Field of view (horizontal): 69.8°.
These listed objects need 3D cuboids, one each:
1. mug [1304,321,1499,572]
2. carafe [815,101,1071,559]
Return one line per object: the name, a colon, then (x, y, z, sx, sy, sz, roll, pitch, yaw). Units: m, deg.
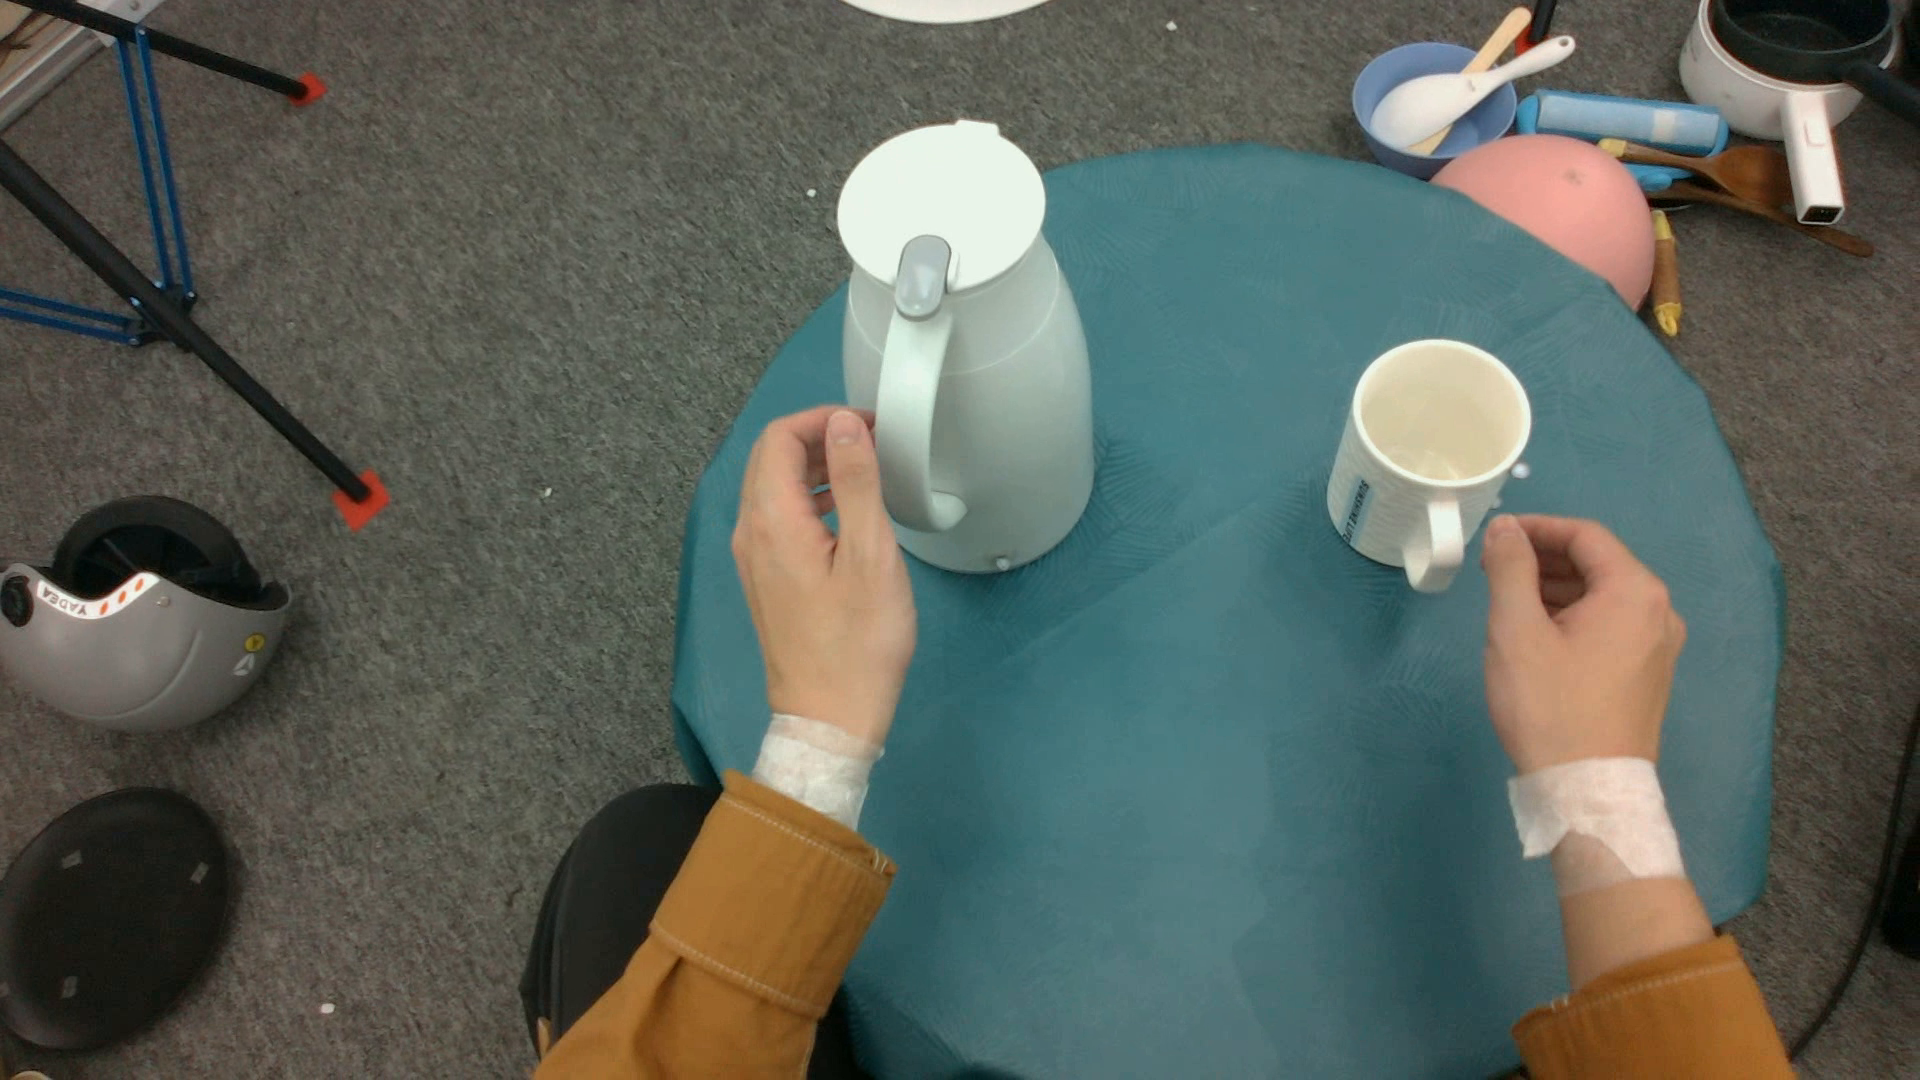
mug: (0.233, -0.039, 0.733, 0.085, 0.101, 0.118, -3, 64, 5)
carafe: (-0.013, -0.086, 0.693, 0.132, 0.247, 0.168, 9, 65, 9)
